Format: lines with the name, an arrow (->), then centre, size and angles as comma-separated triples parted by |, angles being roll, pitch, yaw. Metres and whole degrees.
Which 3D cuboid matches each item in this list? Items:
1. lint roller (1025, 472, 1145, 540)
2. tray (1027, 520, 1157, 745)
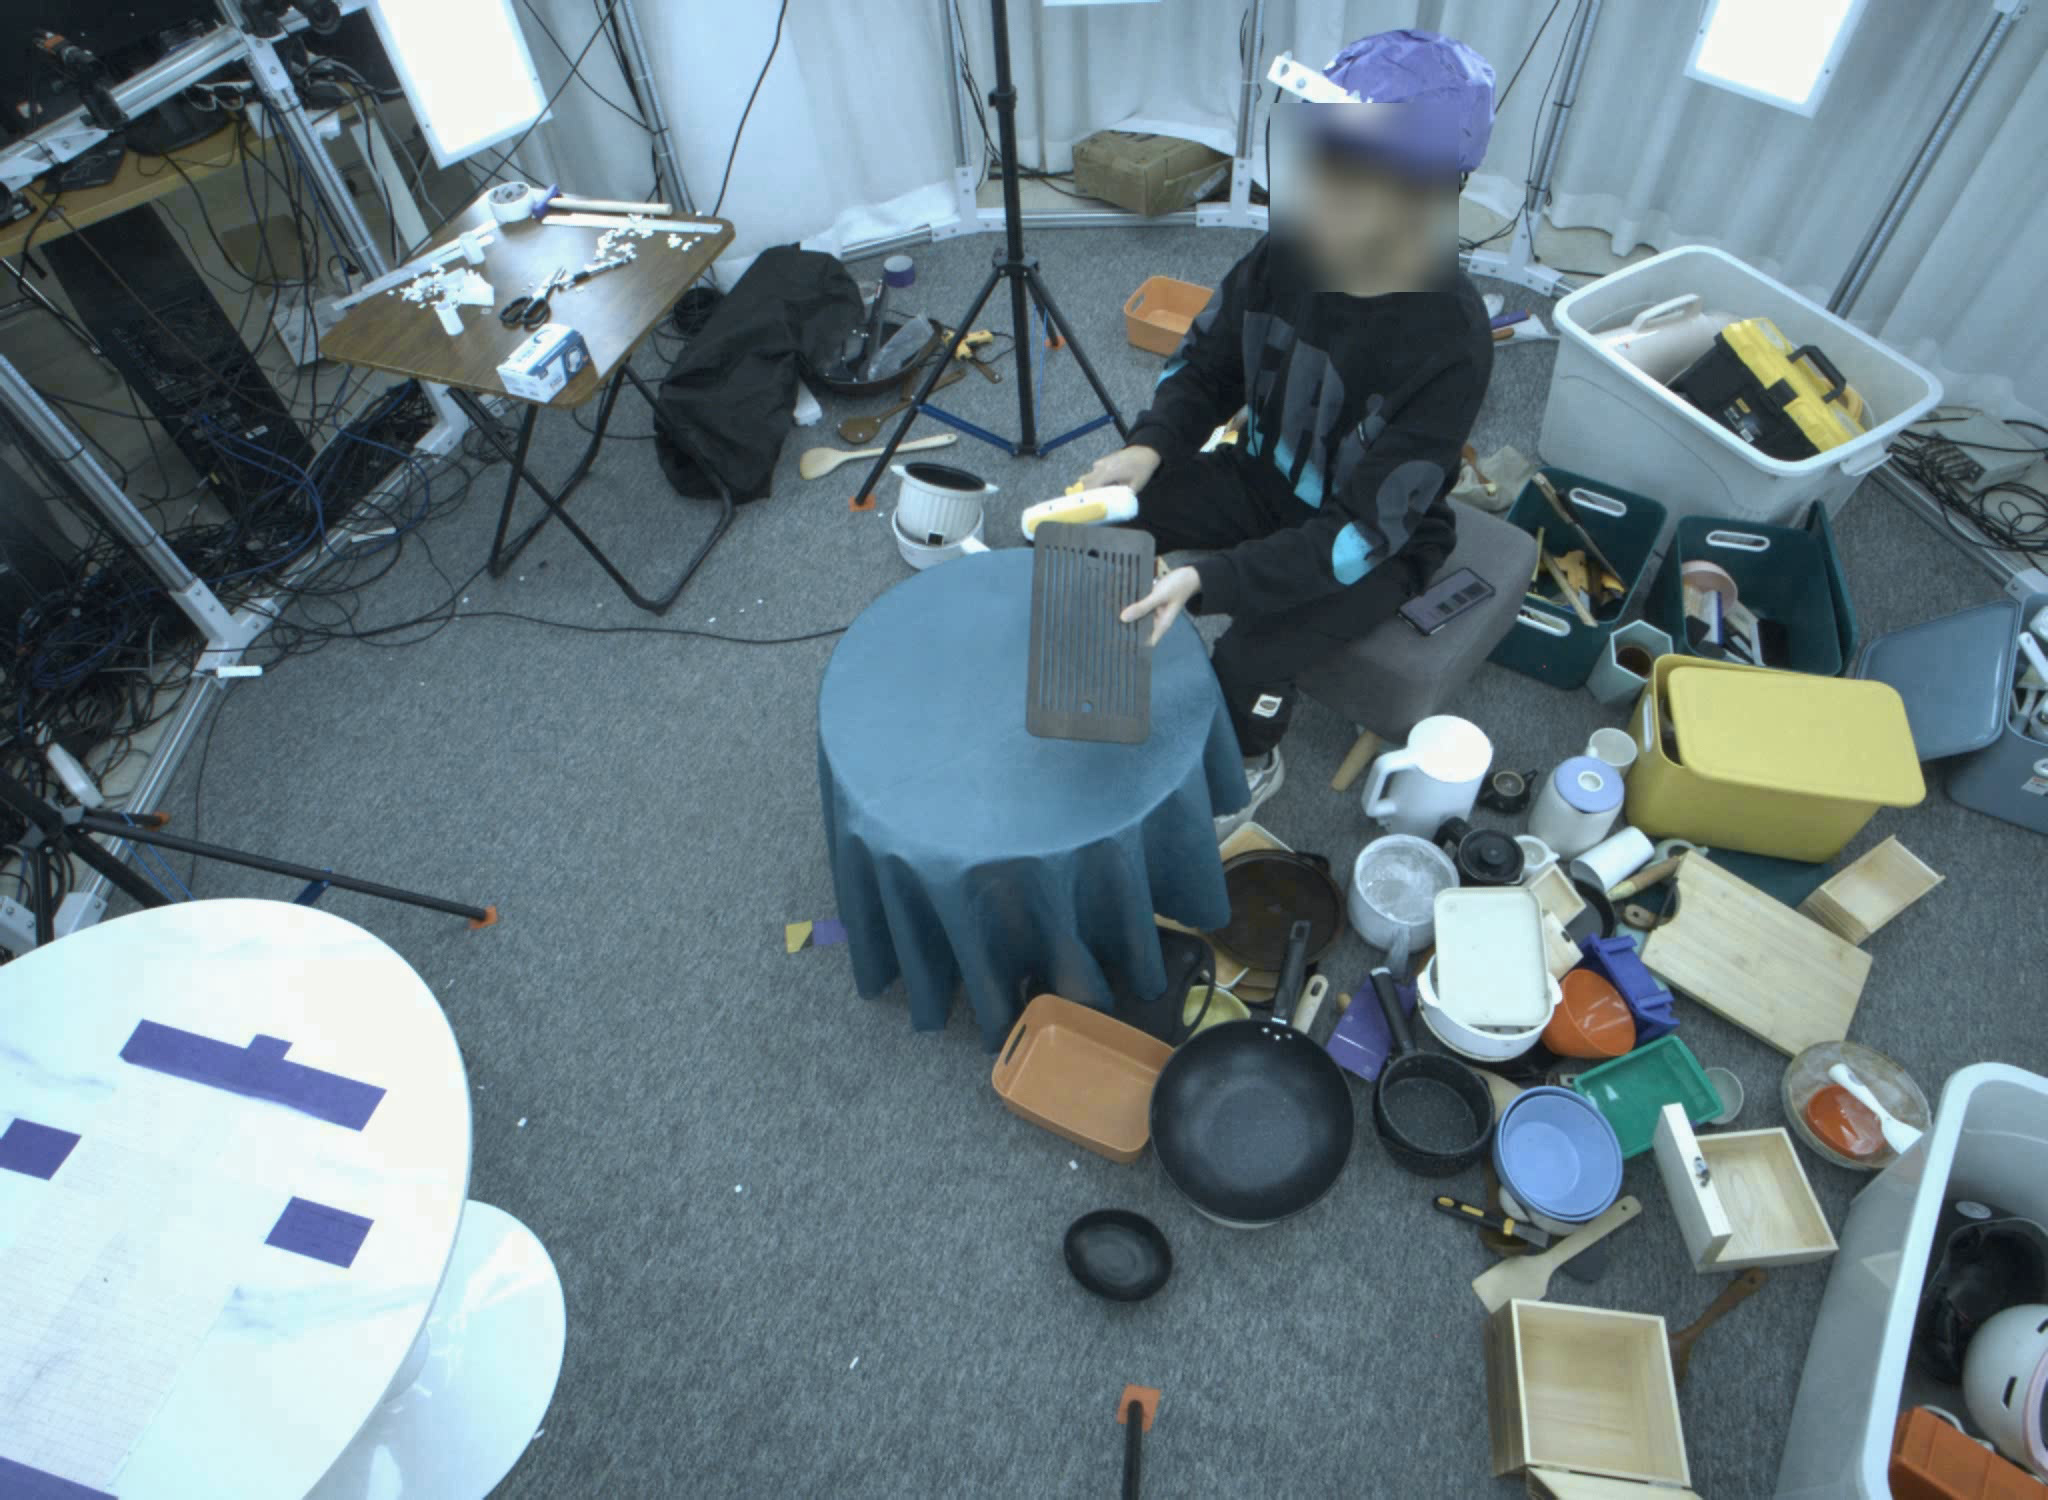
lint roller -> 0.113, -0.379, 1.866 | 0.189, 0.075, 0.194 | -12, 14, 35
tray -> 0.094, -0.162, 1.682 | 0.171, 0.018, 0.305 | 4, 81, -10
